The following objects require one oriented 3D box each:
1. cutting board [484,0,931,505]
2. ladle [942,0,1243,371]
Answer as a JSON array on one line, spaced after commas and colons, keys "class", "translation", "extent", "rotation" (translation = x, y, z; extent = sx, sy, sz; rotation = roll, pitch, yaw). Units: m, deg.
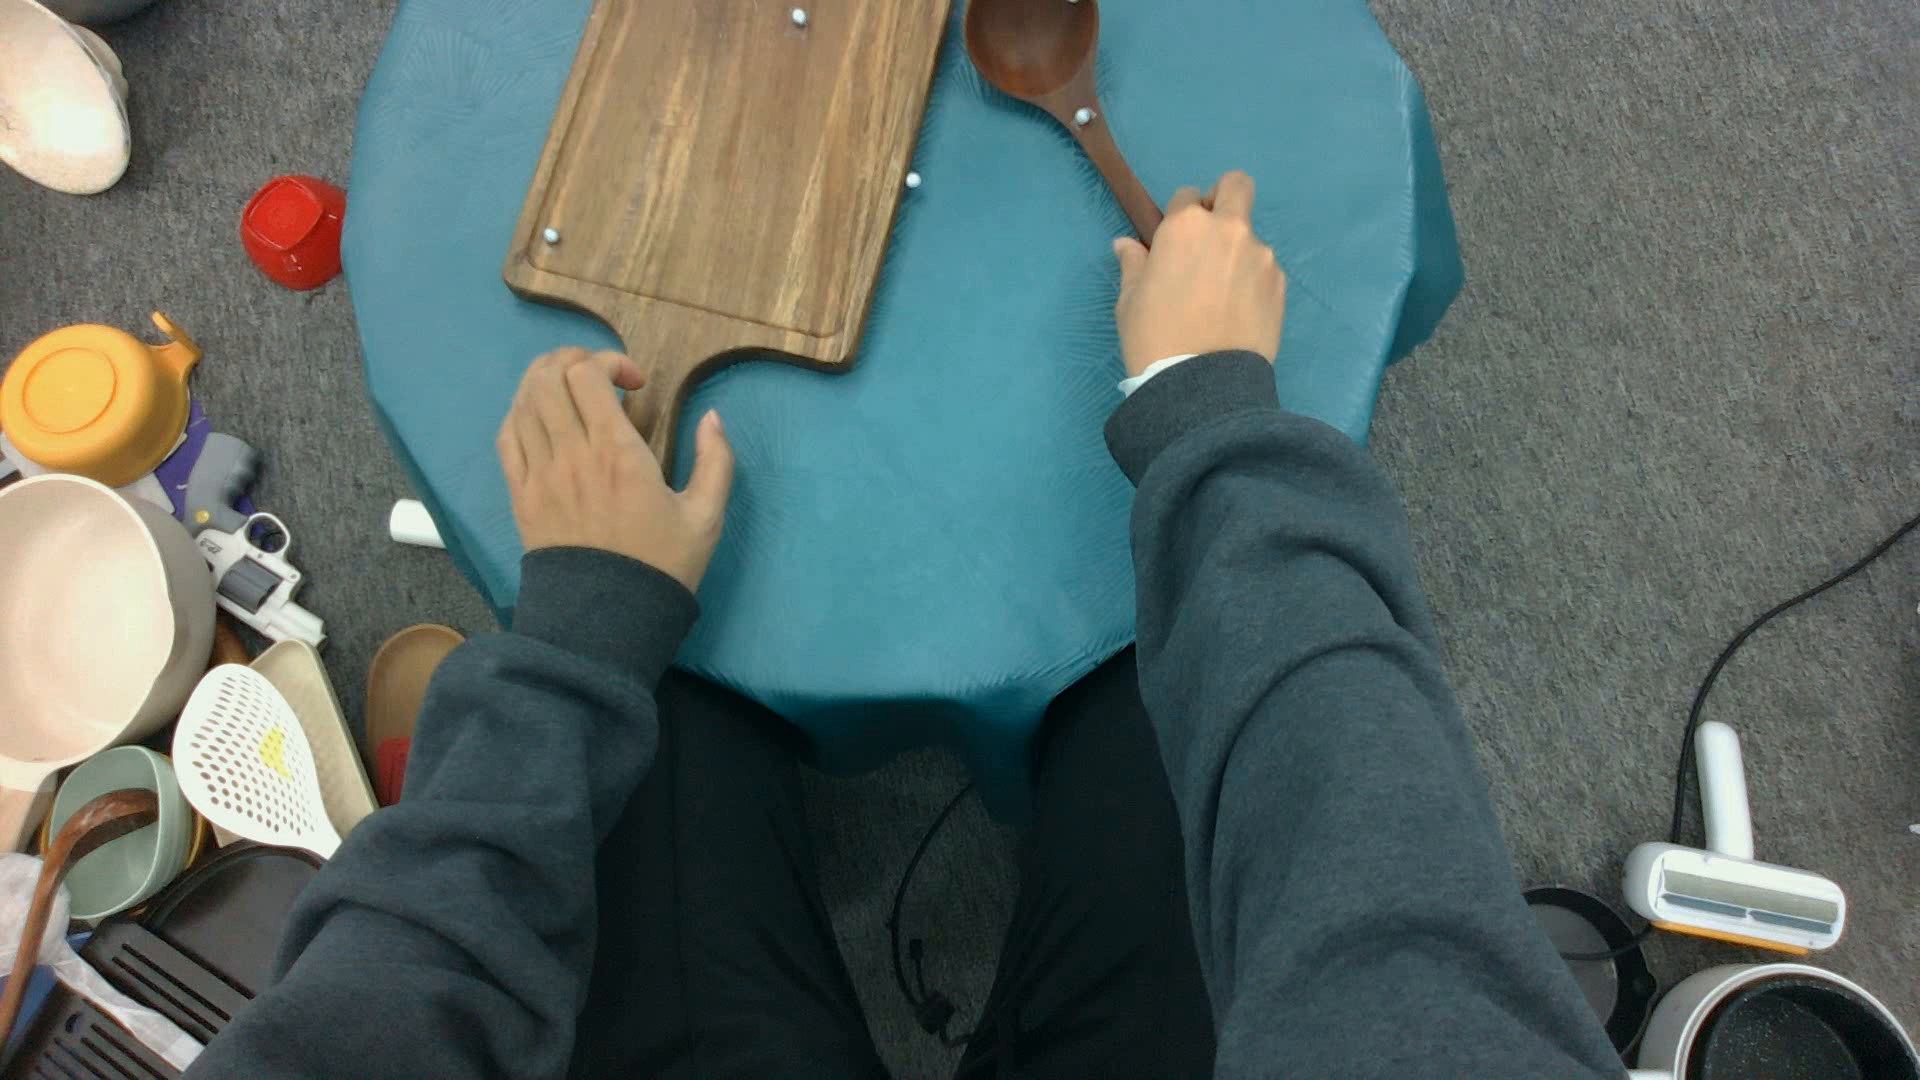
[{"class": "cutting board", "translation": [-0.146, -0.188, 0.757], "extent": [0.201, 0.023, 0.353], "rotation": [13, 76, 3]}, {"class": "ladle", "translation": [0.075, -0.204, 0.744], "extent": [0.076, 0.065, 0.260], "rotation": [-33, 79, 19]}]
